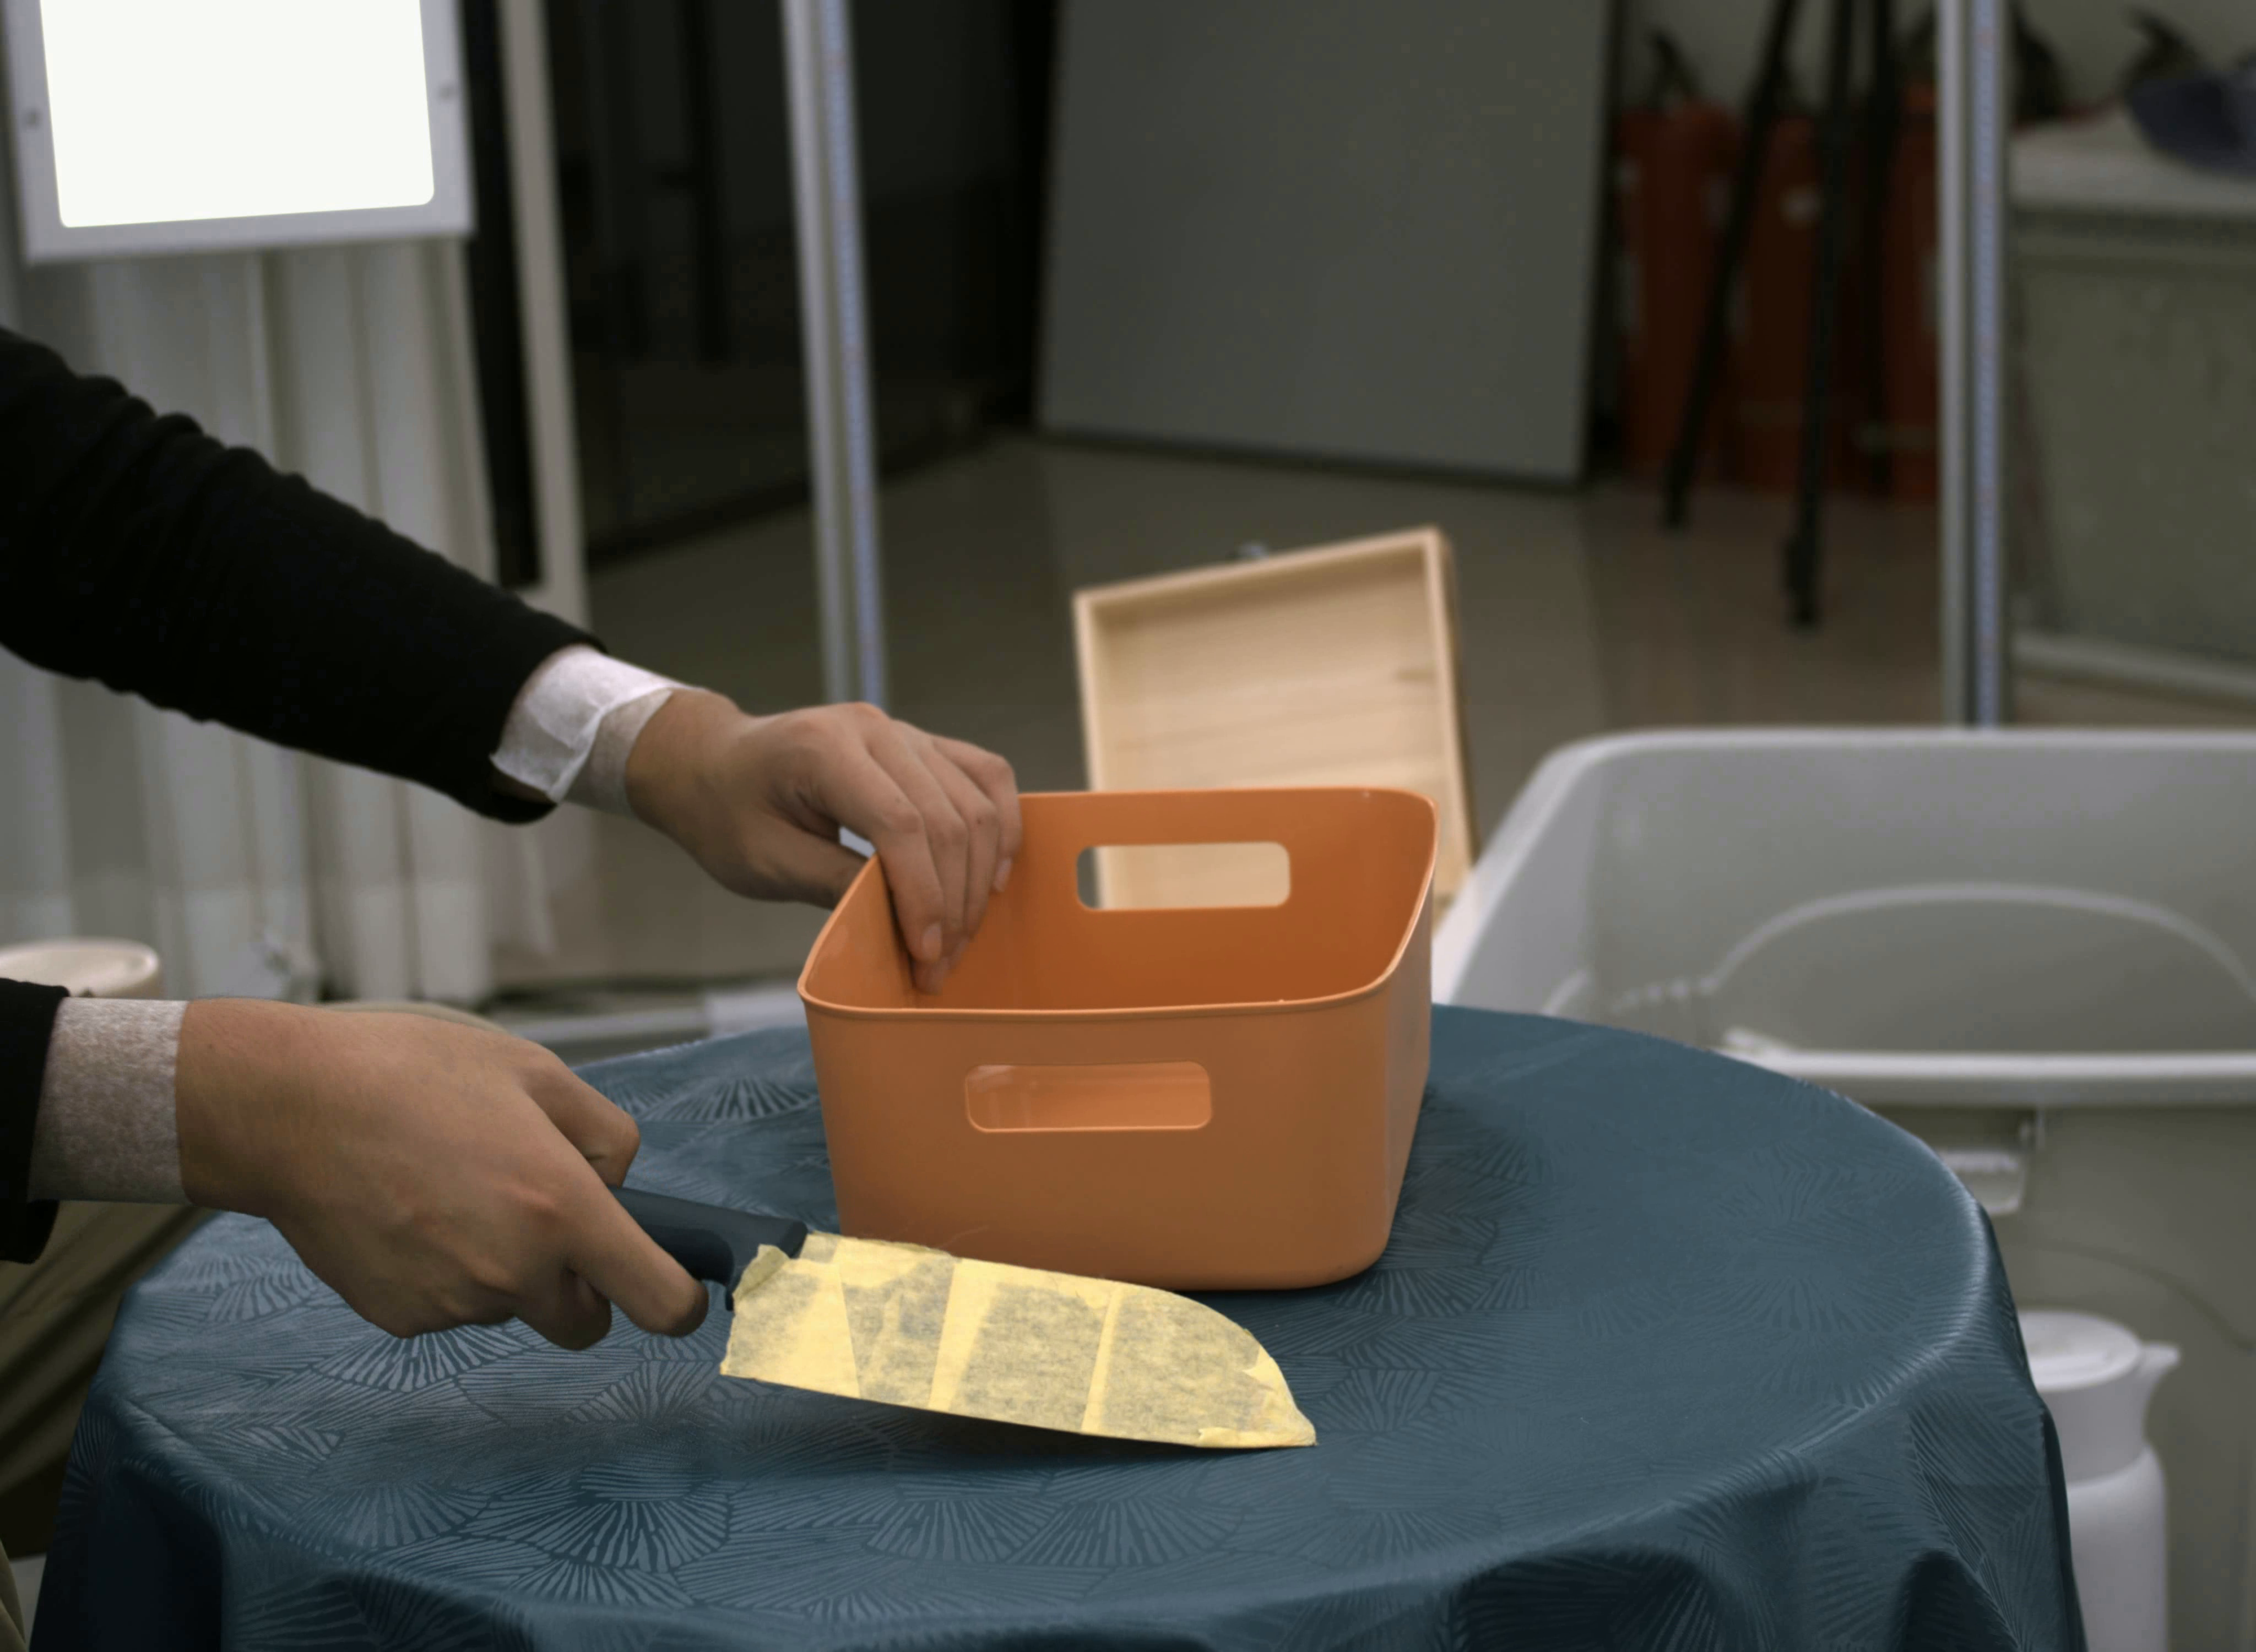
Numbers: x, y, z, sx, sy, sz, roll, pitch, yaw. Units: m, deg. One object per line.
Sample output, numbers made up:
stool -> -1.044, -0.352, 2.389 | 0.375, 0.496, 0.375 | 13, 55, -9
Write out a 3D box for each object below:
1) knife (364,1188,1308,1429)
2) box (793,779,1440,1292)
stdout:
knife -> -0.087, 0.141, 1.567 | 0.287, 0.027, 0.081 | 8, 28, 9
box -> 0.003, 0.067, 1.769 | 0.198, 0.104, 0.272 | -1, 14, 8
